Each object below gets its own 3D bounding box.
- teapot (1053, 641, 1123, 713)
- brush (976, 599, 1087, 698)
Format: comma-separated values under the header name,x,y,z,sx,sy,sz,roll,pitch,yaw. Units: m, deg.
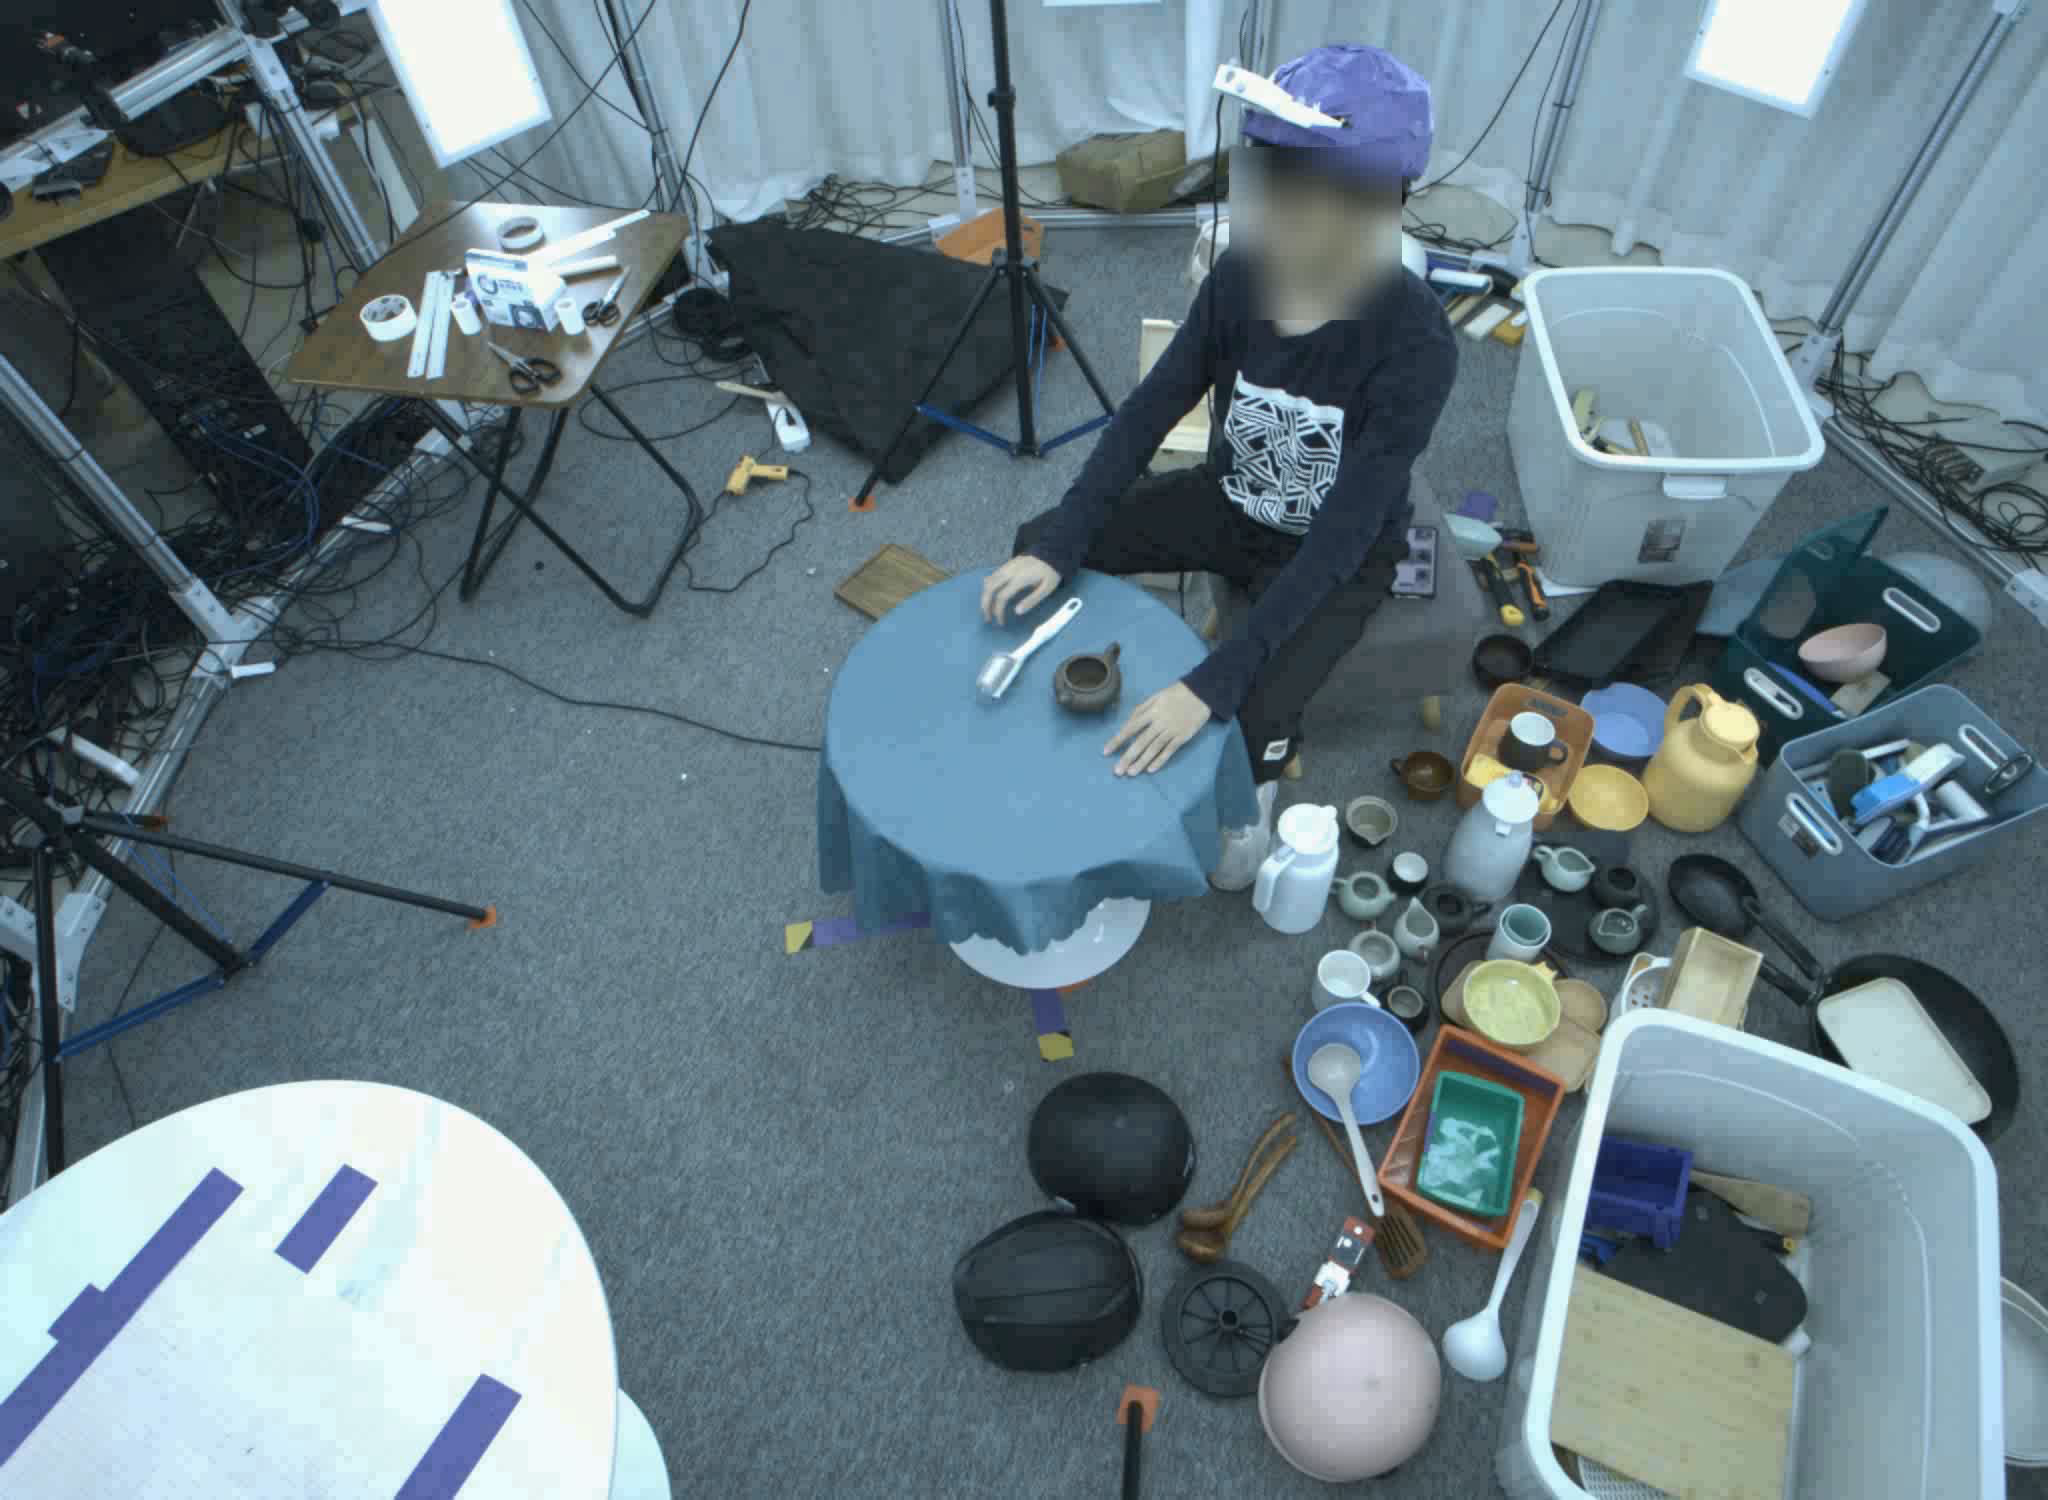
name,x,y,z,sx,sy,sz,roll,pitch,yaw
teapot,0.096,-0.104,1.818,0.101,0.054,0.154,25,59,19
brush,0.014,-0.168,1.869,0.034,0.051,0.245,31,61,26
